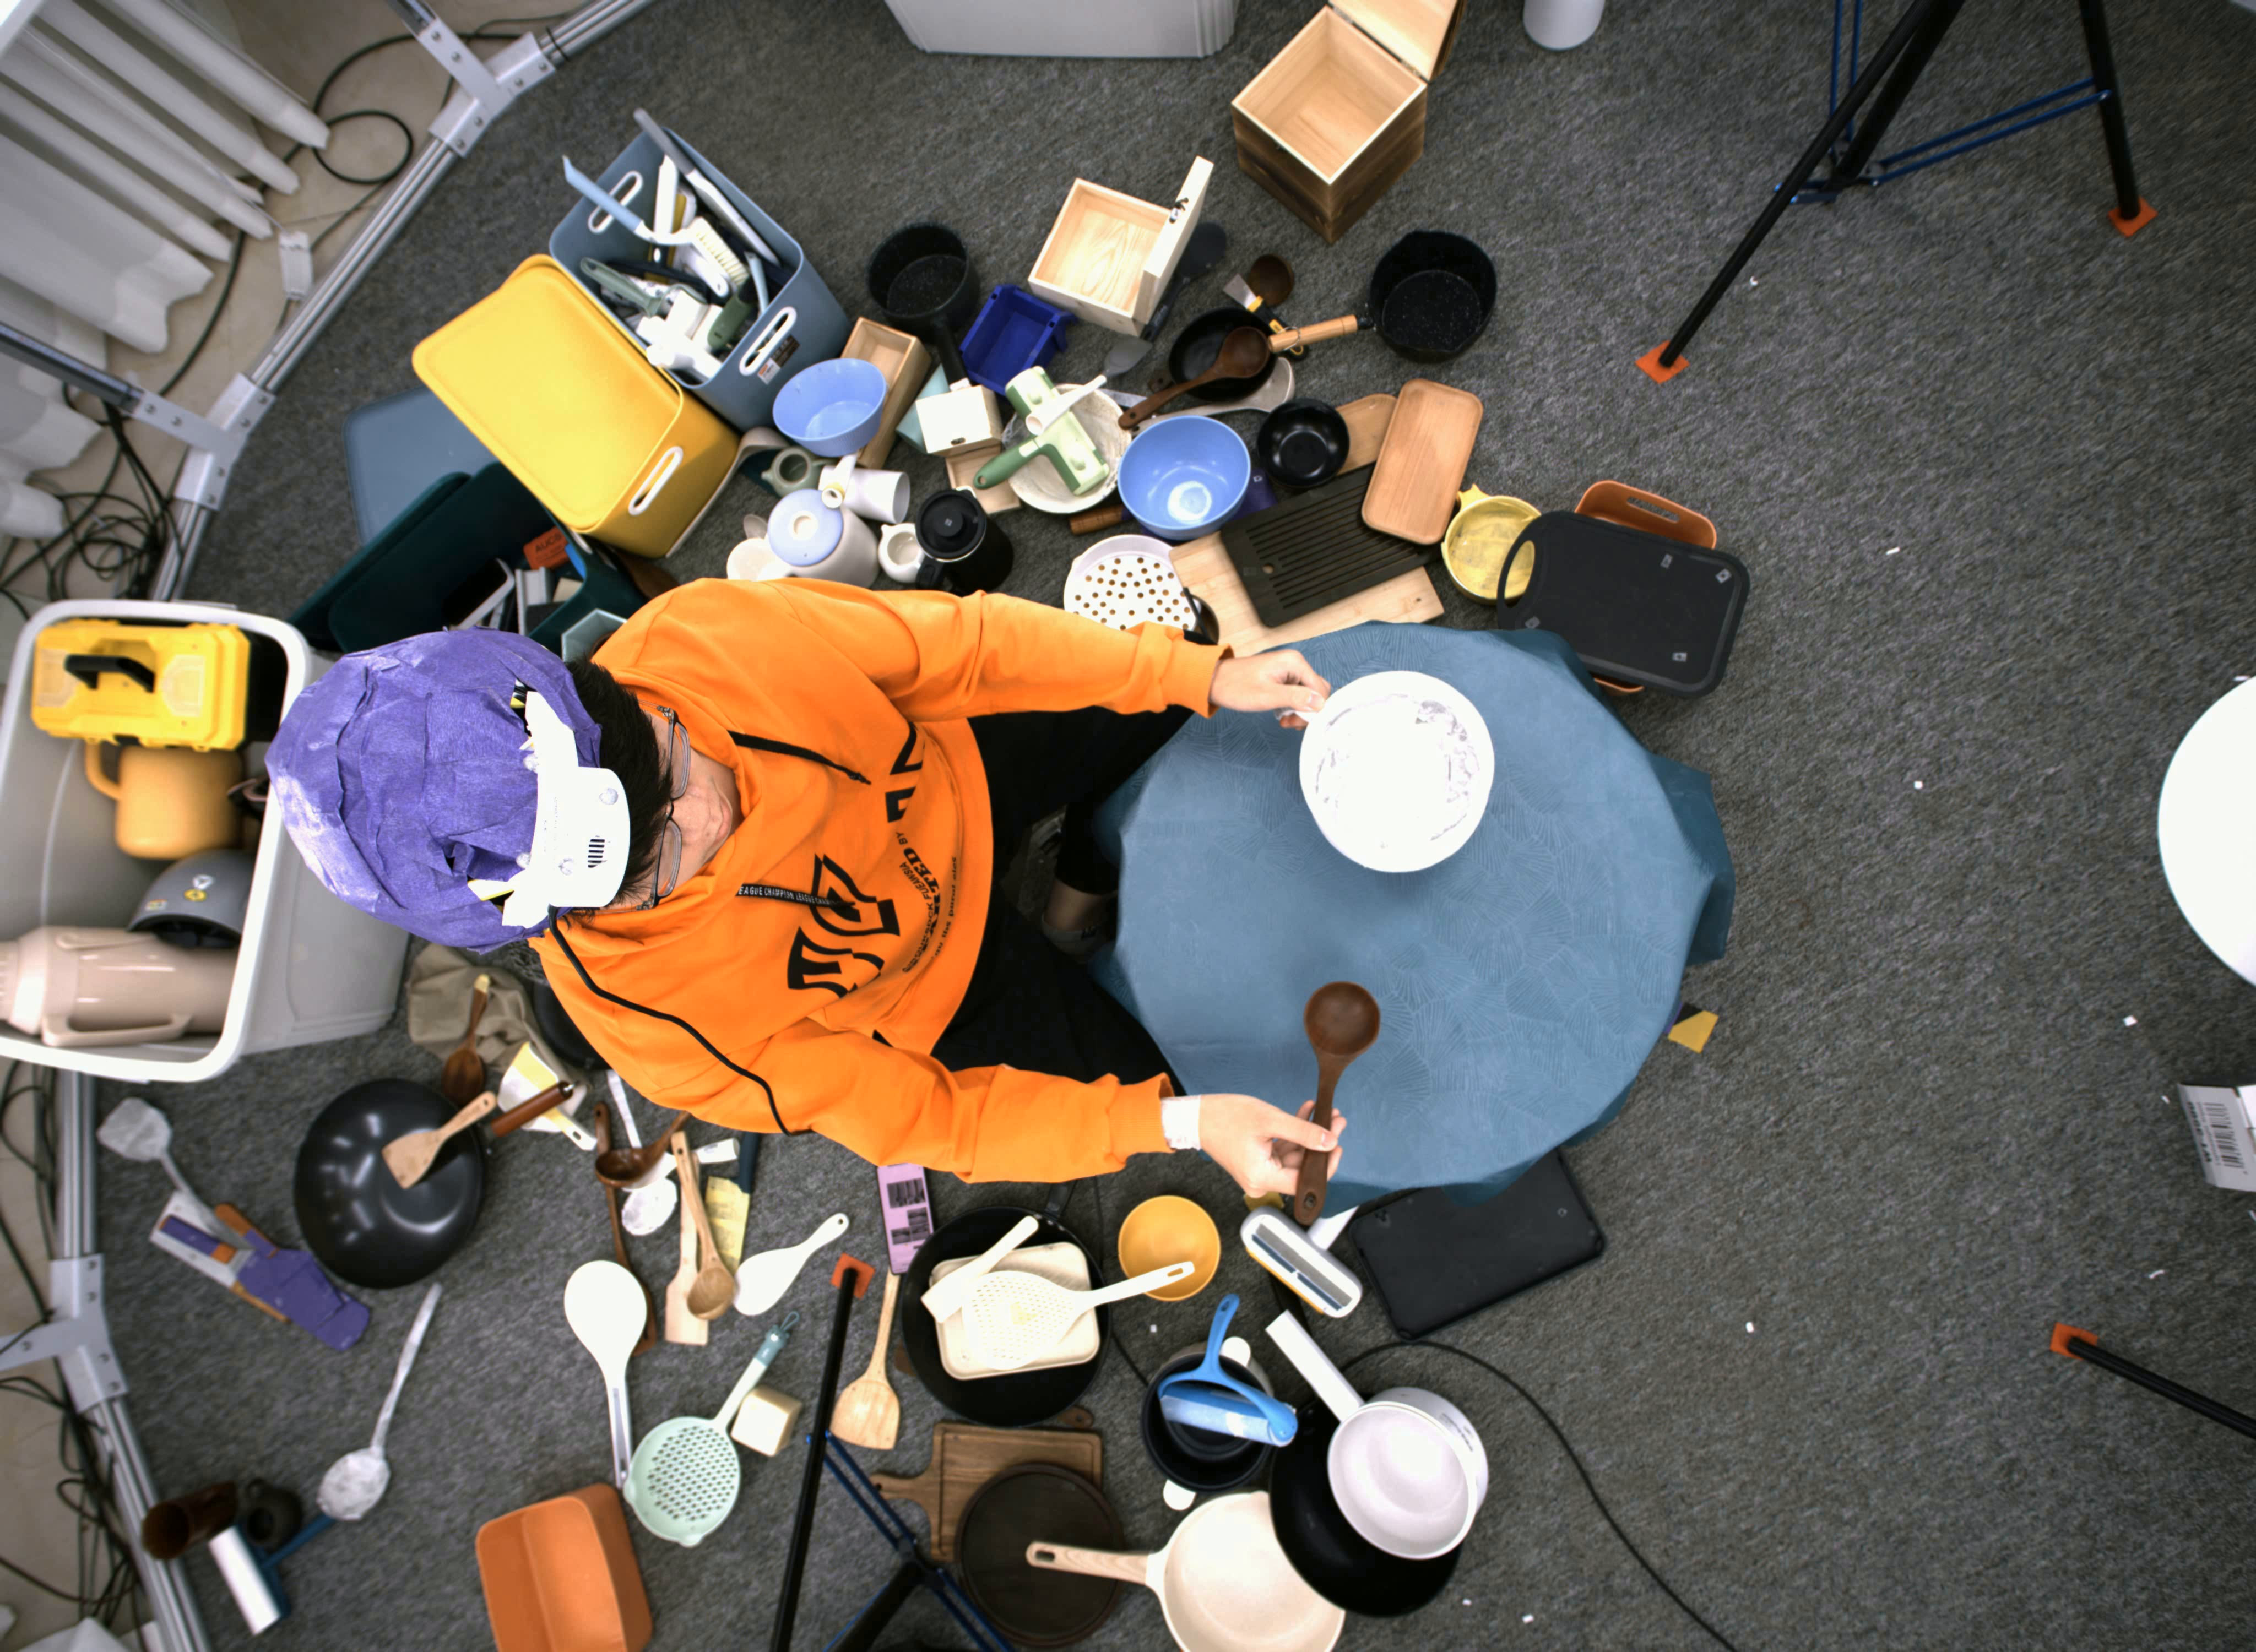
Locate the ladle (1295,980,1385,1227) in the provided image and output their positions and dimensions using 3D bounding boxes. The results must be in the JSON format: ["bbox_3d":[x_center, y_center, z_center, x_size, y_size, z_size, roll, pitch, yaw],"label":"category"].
[{"bbox_3d":[0.187,0.246,1.275,0.077,0.253,0.067,8,130,13],"label":"ladle"}]

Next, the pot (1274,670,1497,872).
[{"bbox_3d":[0.237,-0.064,1.328,0.233,0.137,0.179,36,91,14],"label":"pot"}]
